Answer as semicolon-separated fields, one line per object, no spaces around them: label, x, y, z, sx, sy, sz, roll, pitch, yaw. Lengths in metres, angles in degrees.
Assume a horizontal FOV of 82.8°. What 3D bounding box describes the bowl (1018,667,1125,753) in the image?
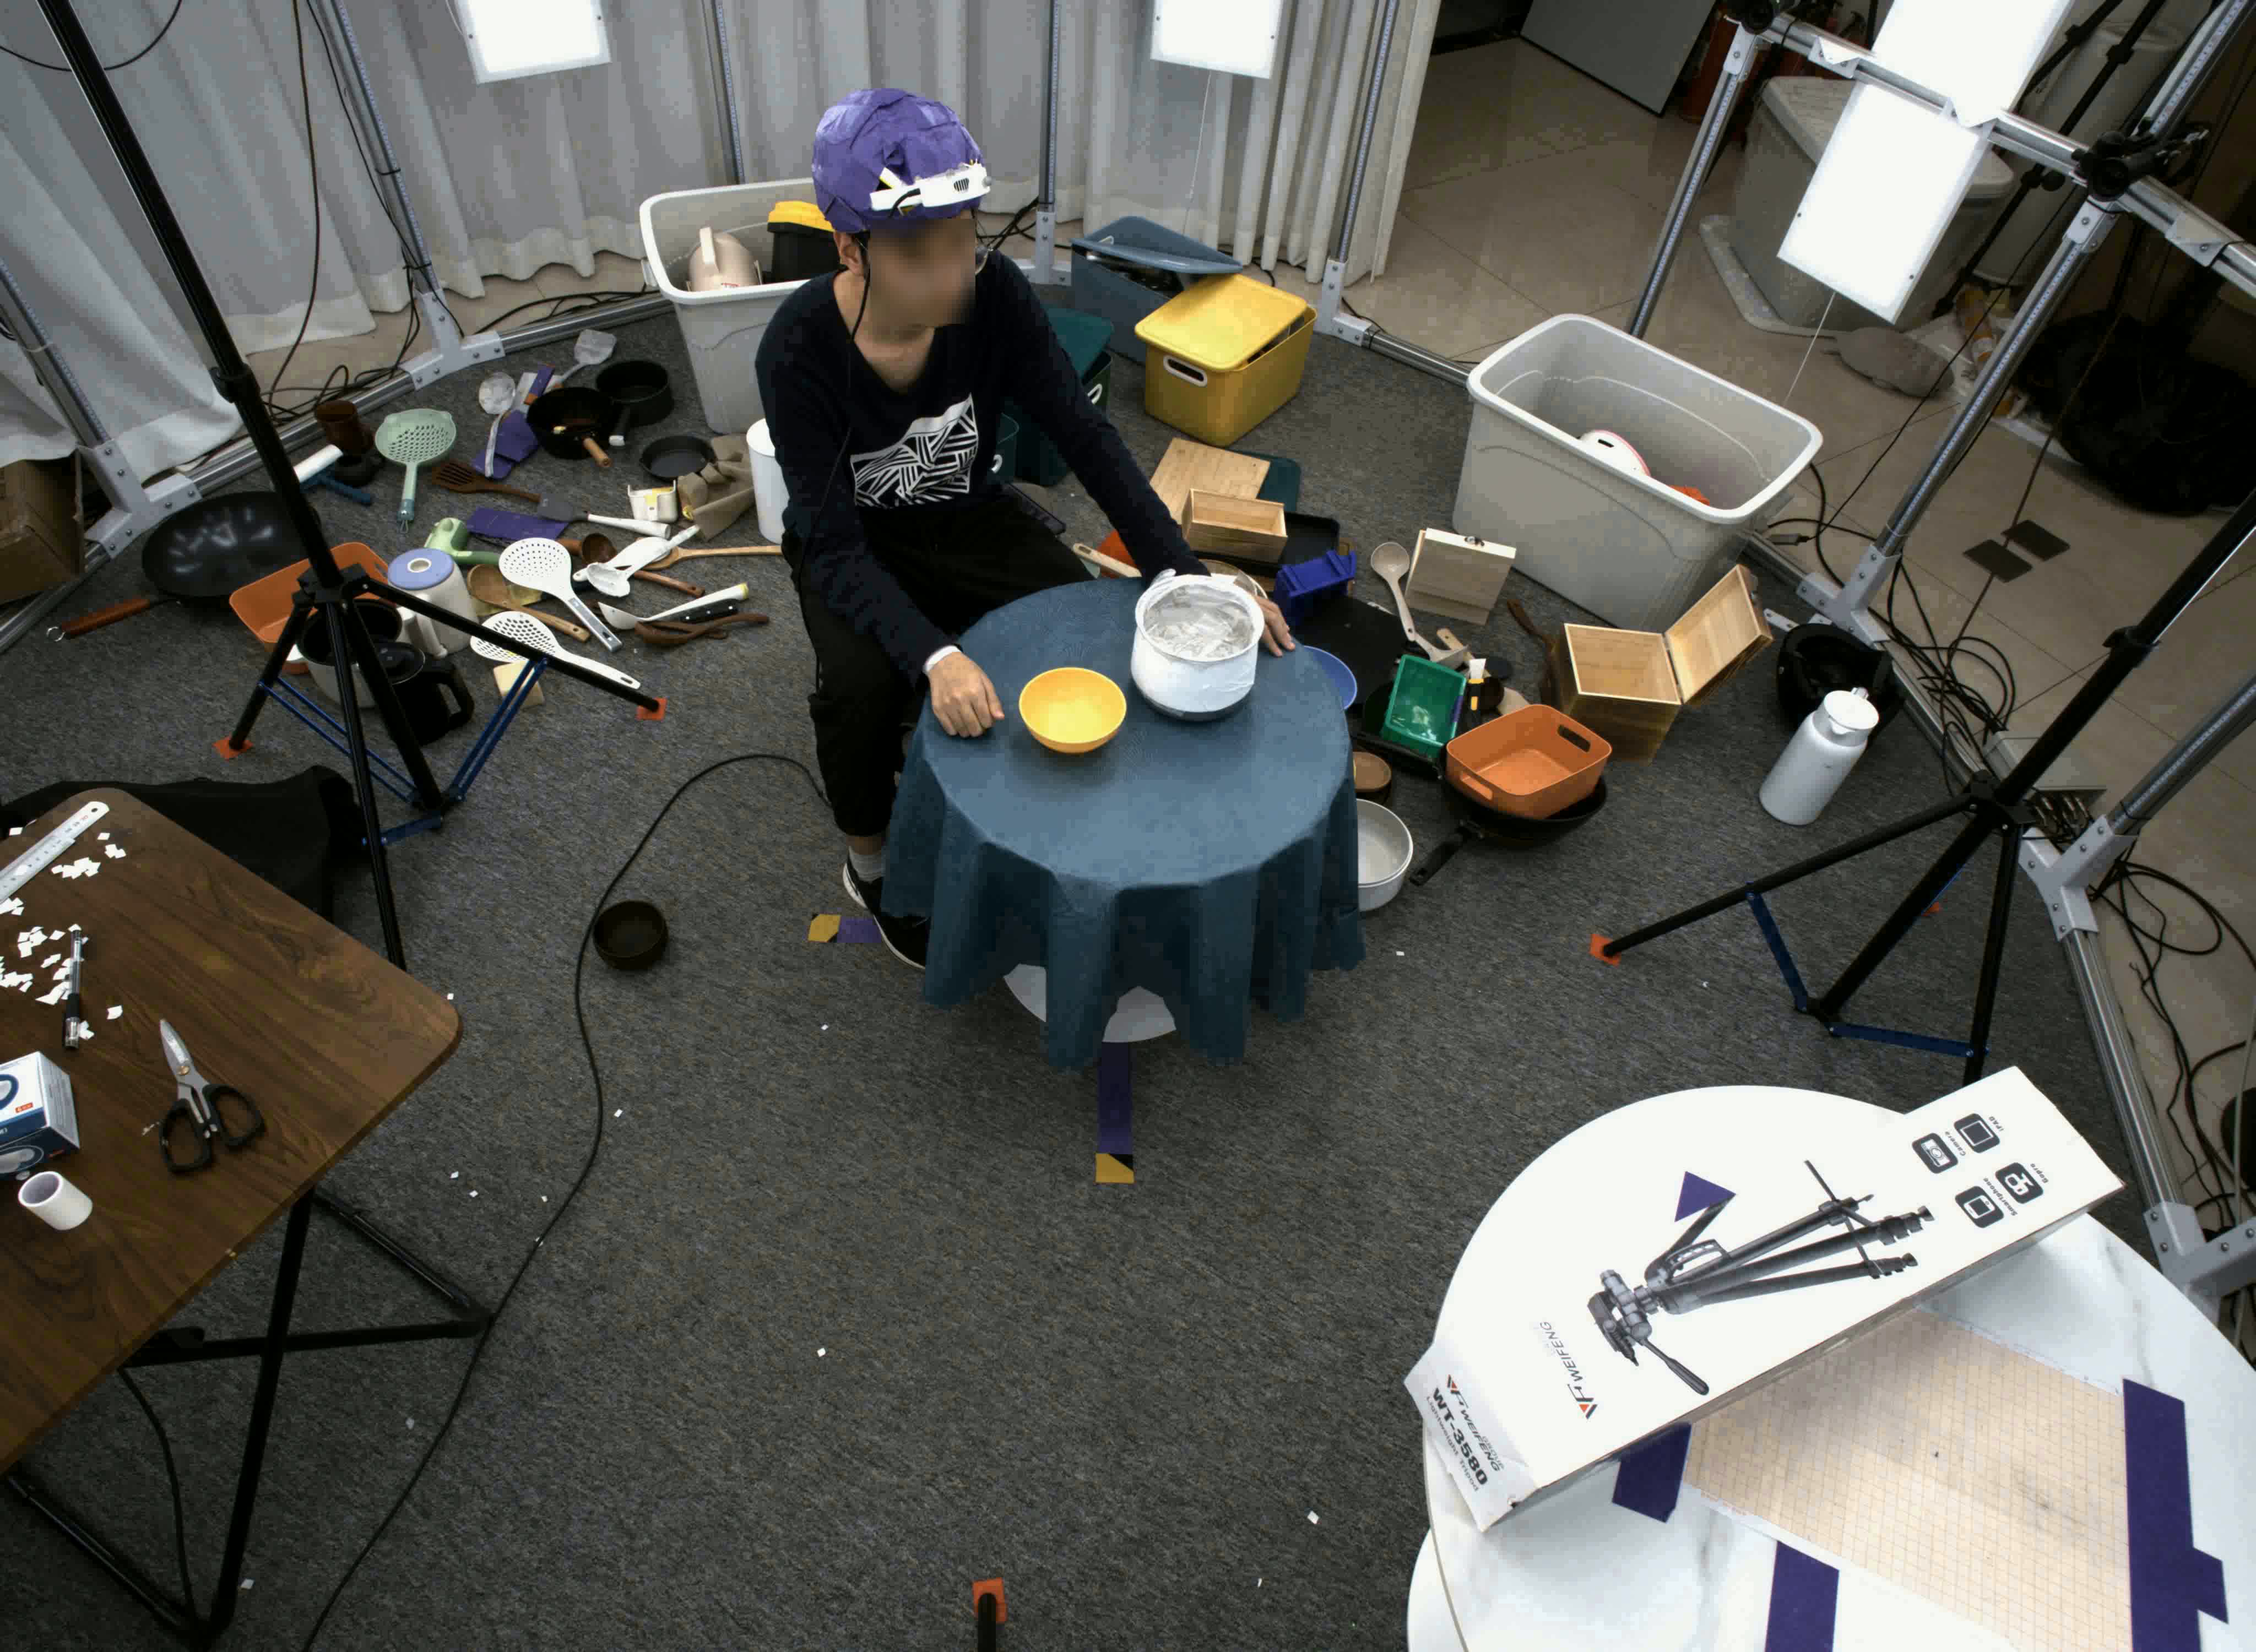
bowl;-0.078;-0.147;1.750;0.145;0.058;0.149;3;49;-4

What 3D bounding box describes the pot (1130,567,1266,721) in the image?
pot;0.083;-0.266;1.814;0.179;0.133;0.239;-15;53;-20
